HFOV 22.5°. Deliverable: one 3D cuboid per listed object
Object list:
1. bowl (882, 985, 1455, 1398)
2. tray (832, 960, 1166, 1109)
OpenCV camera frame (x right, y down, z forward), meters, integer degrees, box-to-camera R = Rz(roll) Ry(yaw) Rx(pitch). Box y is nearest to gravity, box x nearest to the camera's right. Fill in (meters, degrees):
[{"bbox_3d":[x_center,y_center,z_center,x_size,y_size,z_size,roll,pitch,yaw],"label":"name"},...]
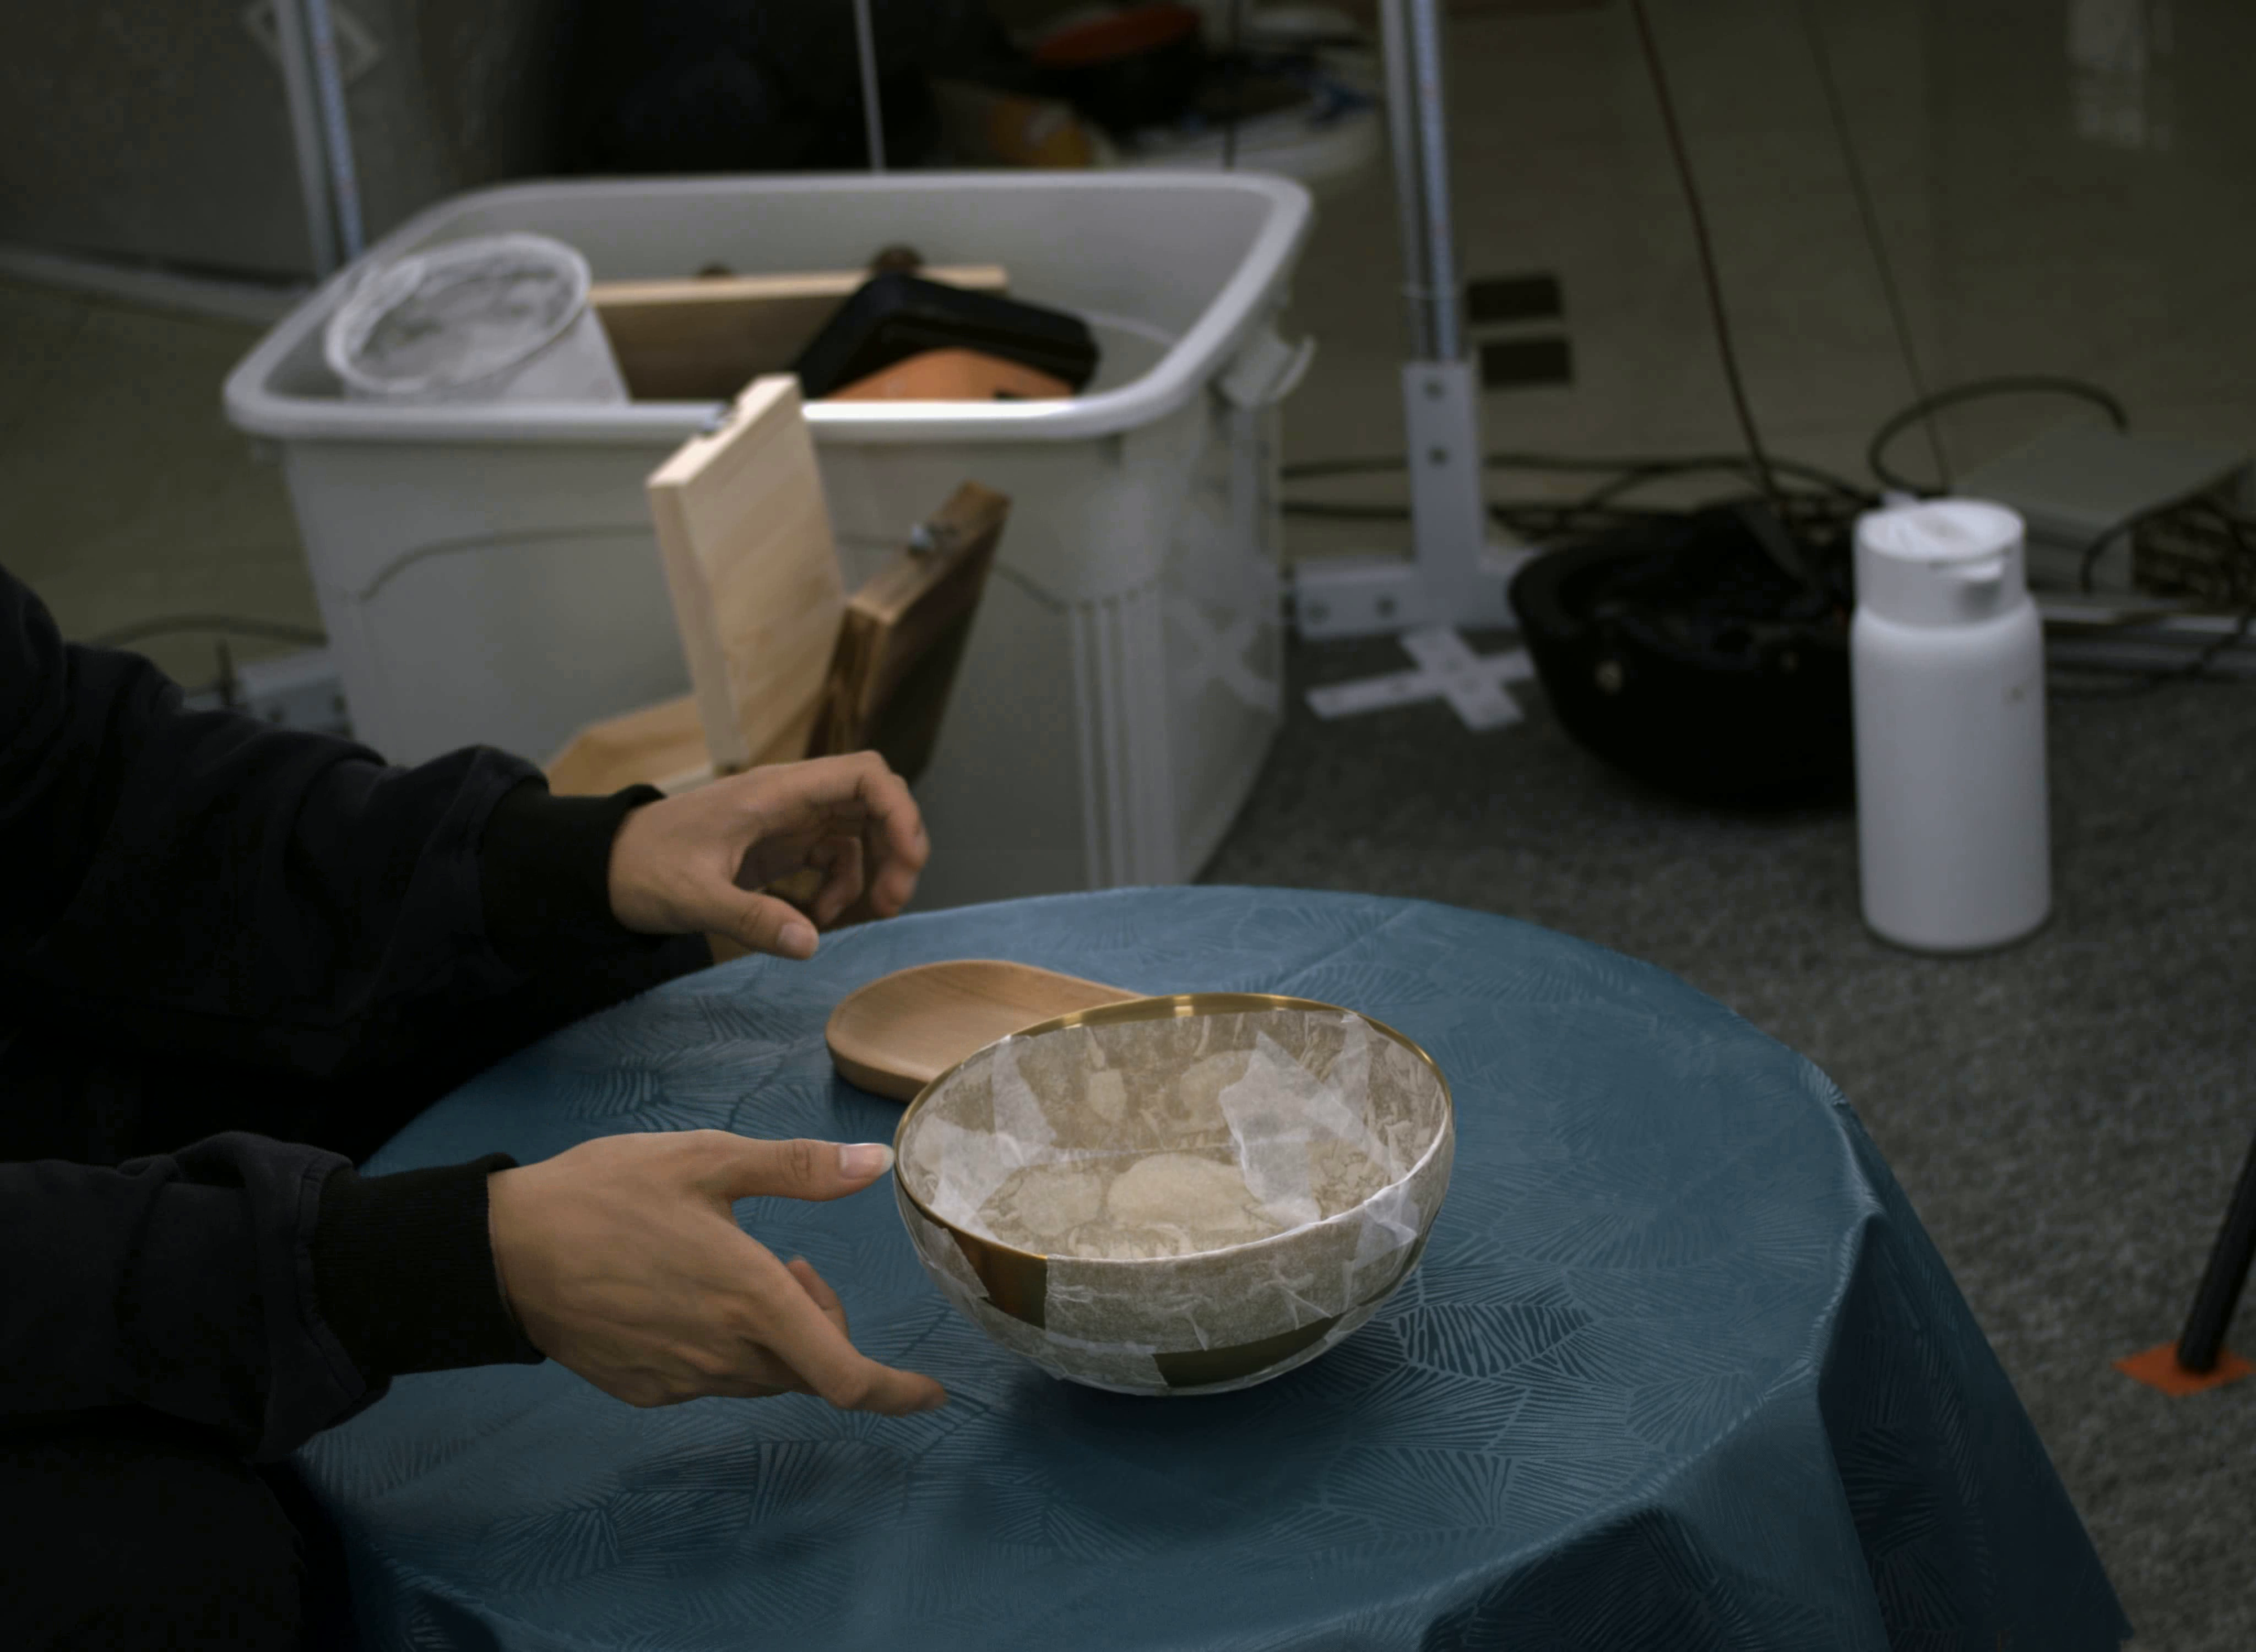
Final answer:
[{"bbox_3d":[0.020,0.142,2.030,0.214,0.096,0.211,-6,26,3],"label":"bowl"},{"bbox_3d":[-0.016,0.095,2.233,0.230,0.020,0.100,14,34,34],"label":"tray"}]
